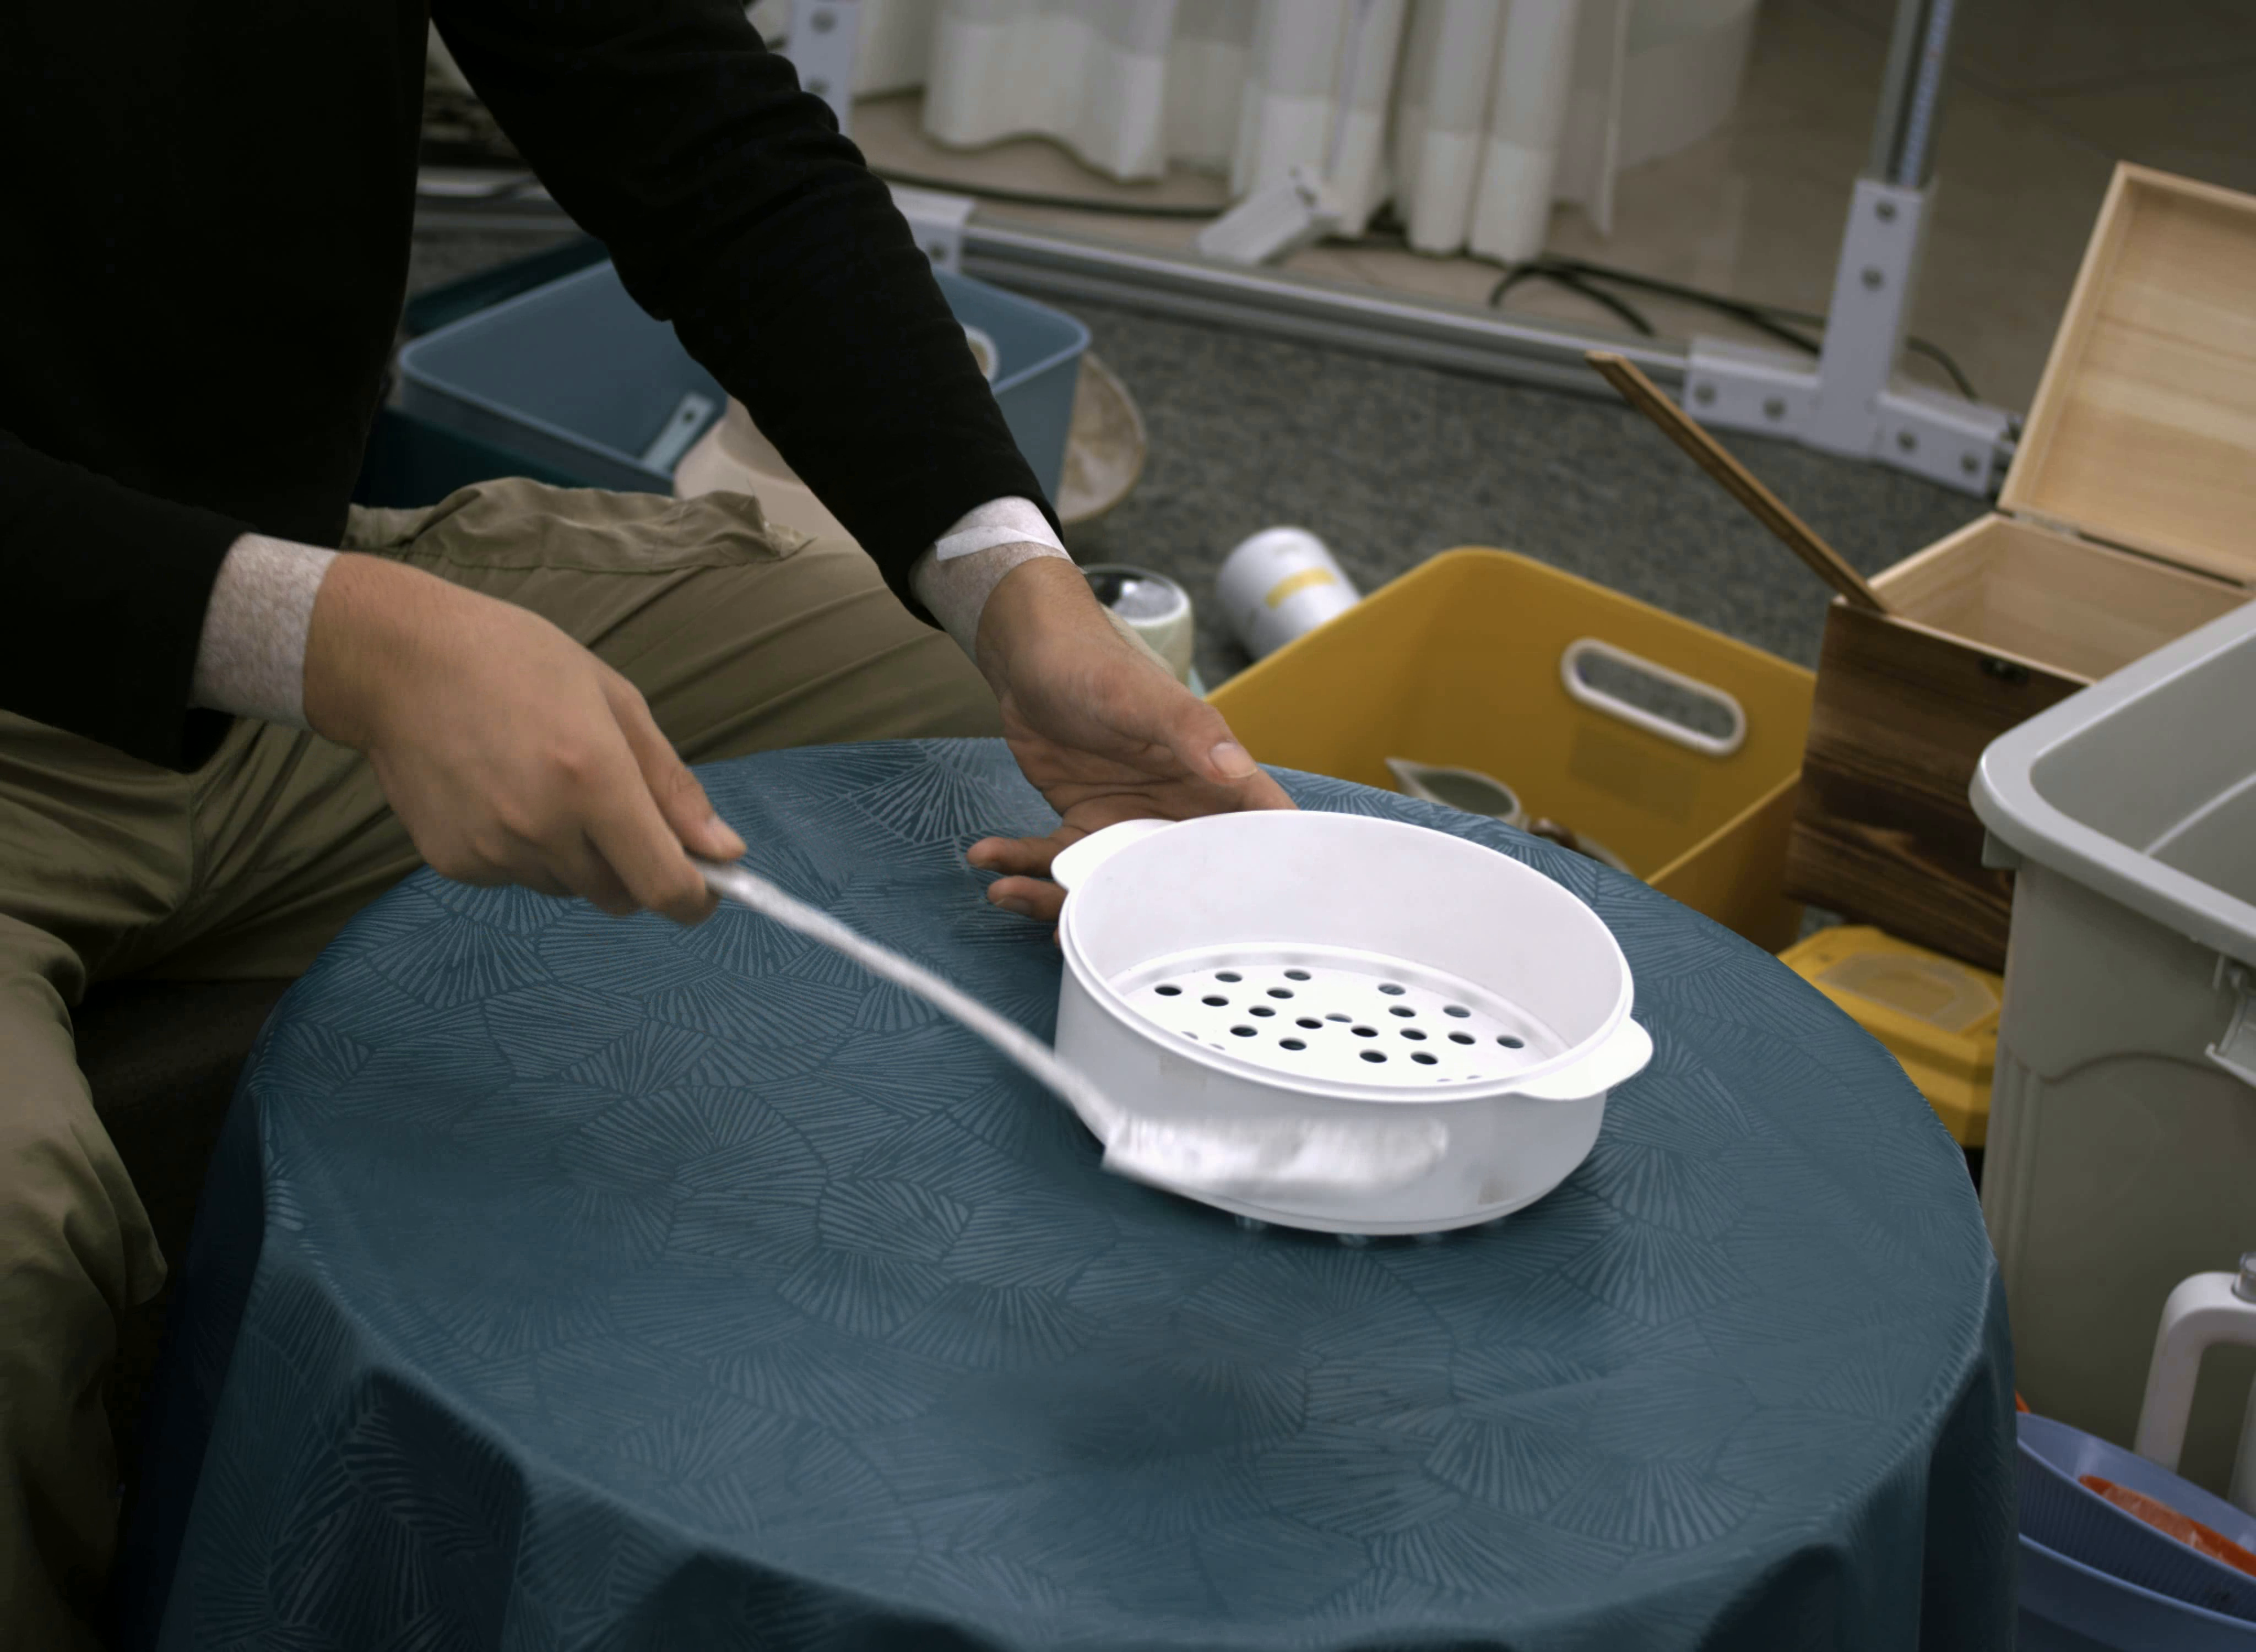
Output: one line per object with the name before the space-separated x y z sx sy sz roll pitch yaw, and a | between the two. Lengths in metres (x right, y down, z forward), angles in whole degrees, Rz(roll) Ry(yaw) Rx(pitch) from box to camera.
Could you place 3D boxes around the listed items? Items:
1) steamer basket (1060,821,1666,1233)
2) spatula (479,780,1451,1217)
steamer basket | 0.076 0.070 1.847 0.232 0.069 0.201 23 30 31
spatula | -0.066 0.050 1.710 0.366 0.045 0.098 28 22 21
